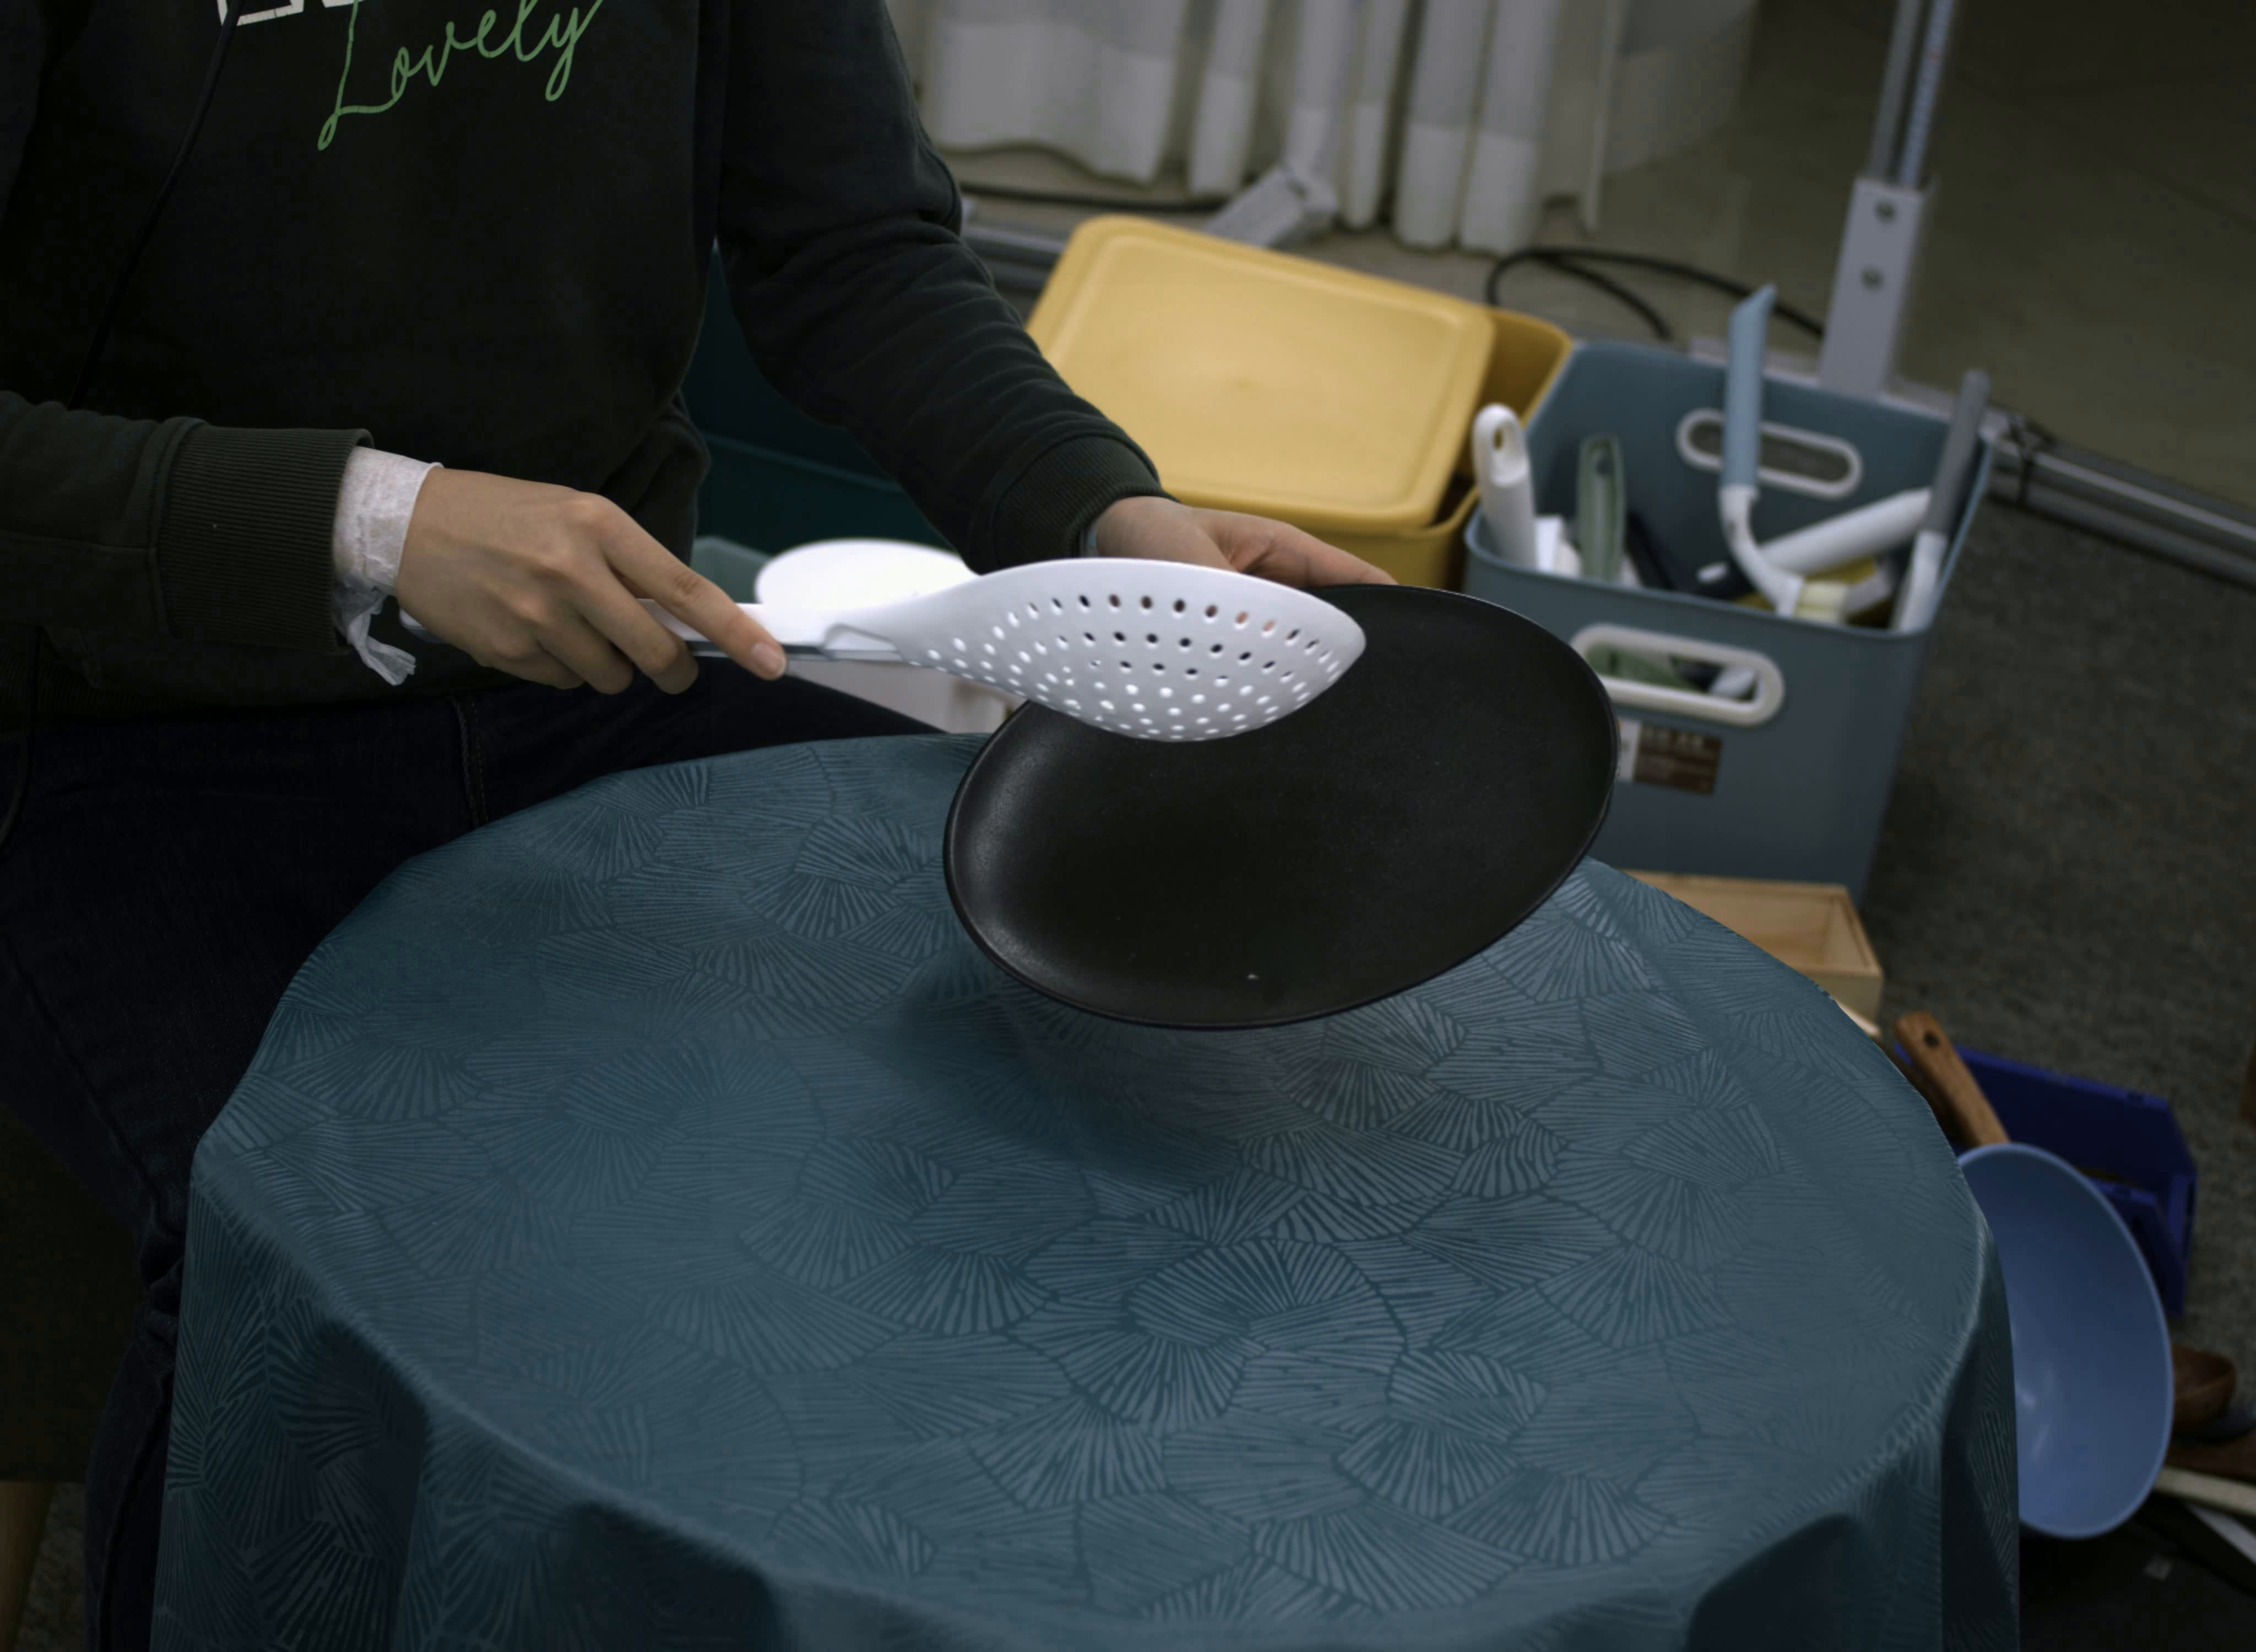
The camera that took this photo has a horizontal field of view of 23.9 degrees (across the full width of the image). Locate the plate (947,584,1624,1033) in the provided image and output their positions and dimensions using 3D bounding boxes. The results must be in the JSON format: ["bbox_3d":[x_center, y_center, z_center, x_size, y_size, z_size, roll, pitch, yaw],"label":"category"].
[{"bbox_3d":[0.056,-0.003,1.872,0.244,0.023,0.246,-10,37,8],"label":"plate"}]

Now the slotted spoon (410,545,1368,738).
[{"bbox_3d":[-0.089,-0.068,1.858,0.350,0.046,0.135,7,-15,19],"label":"slotted spoon"}]
